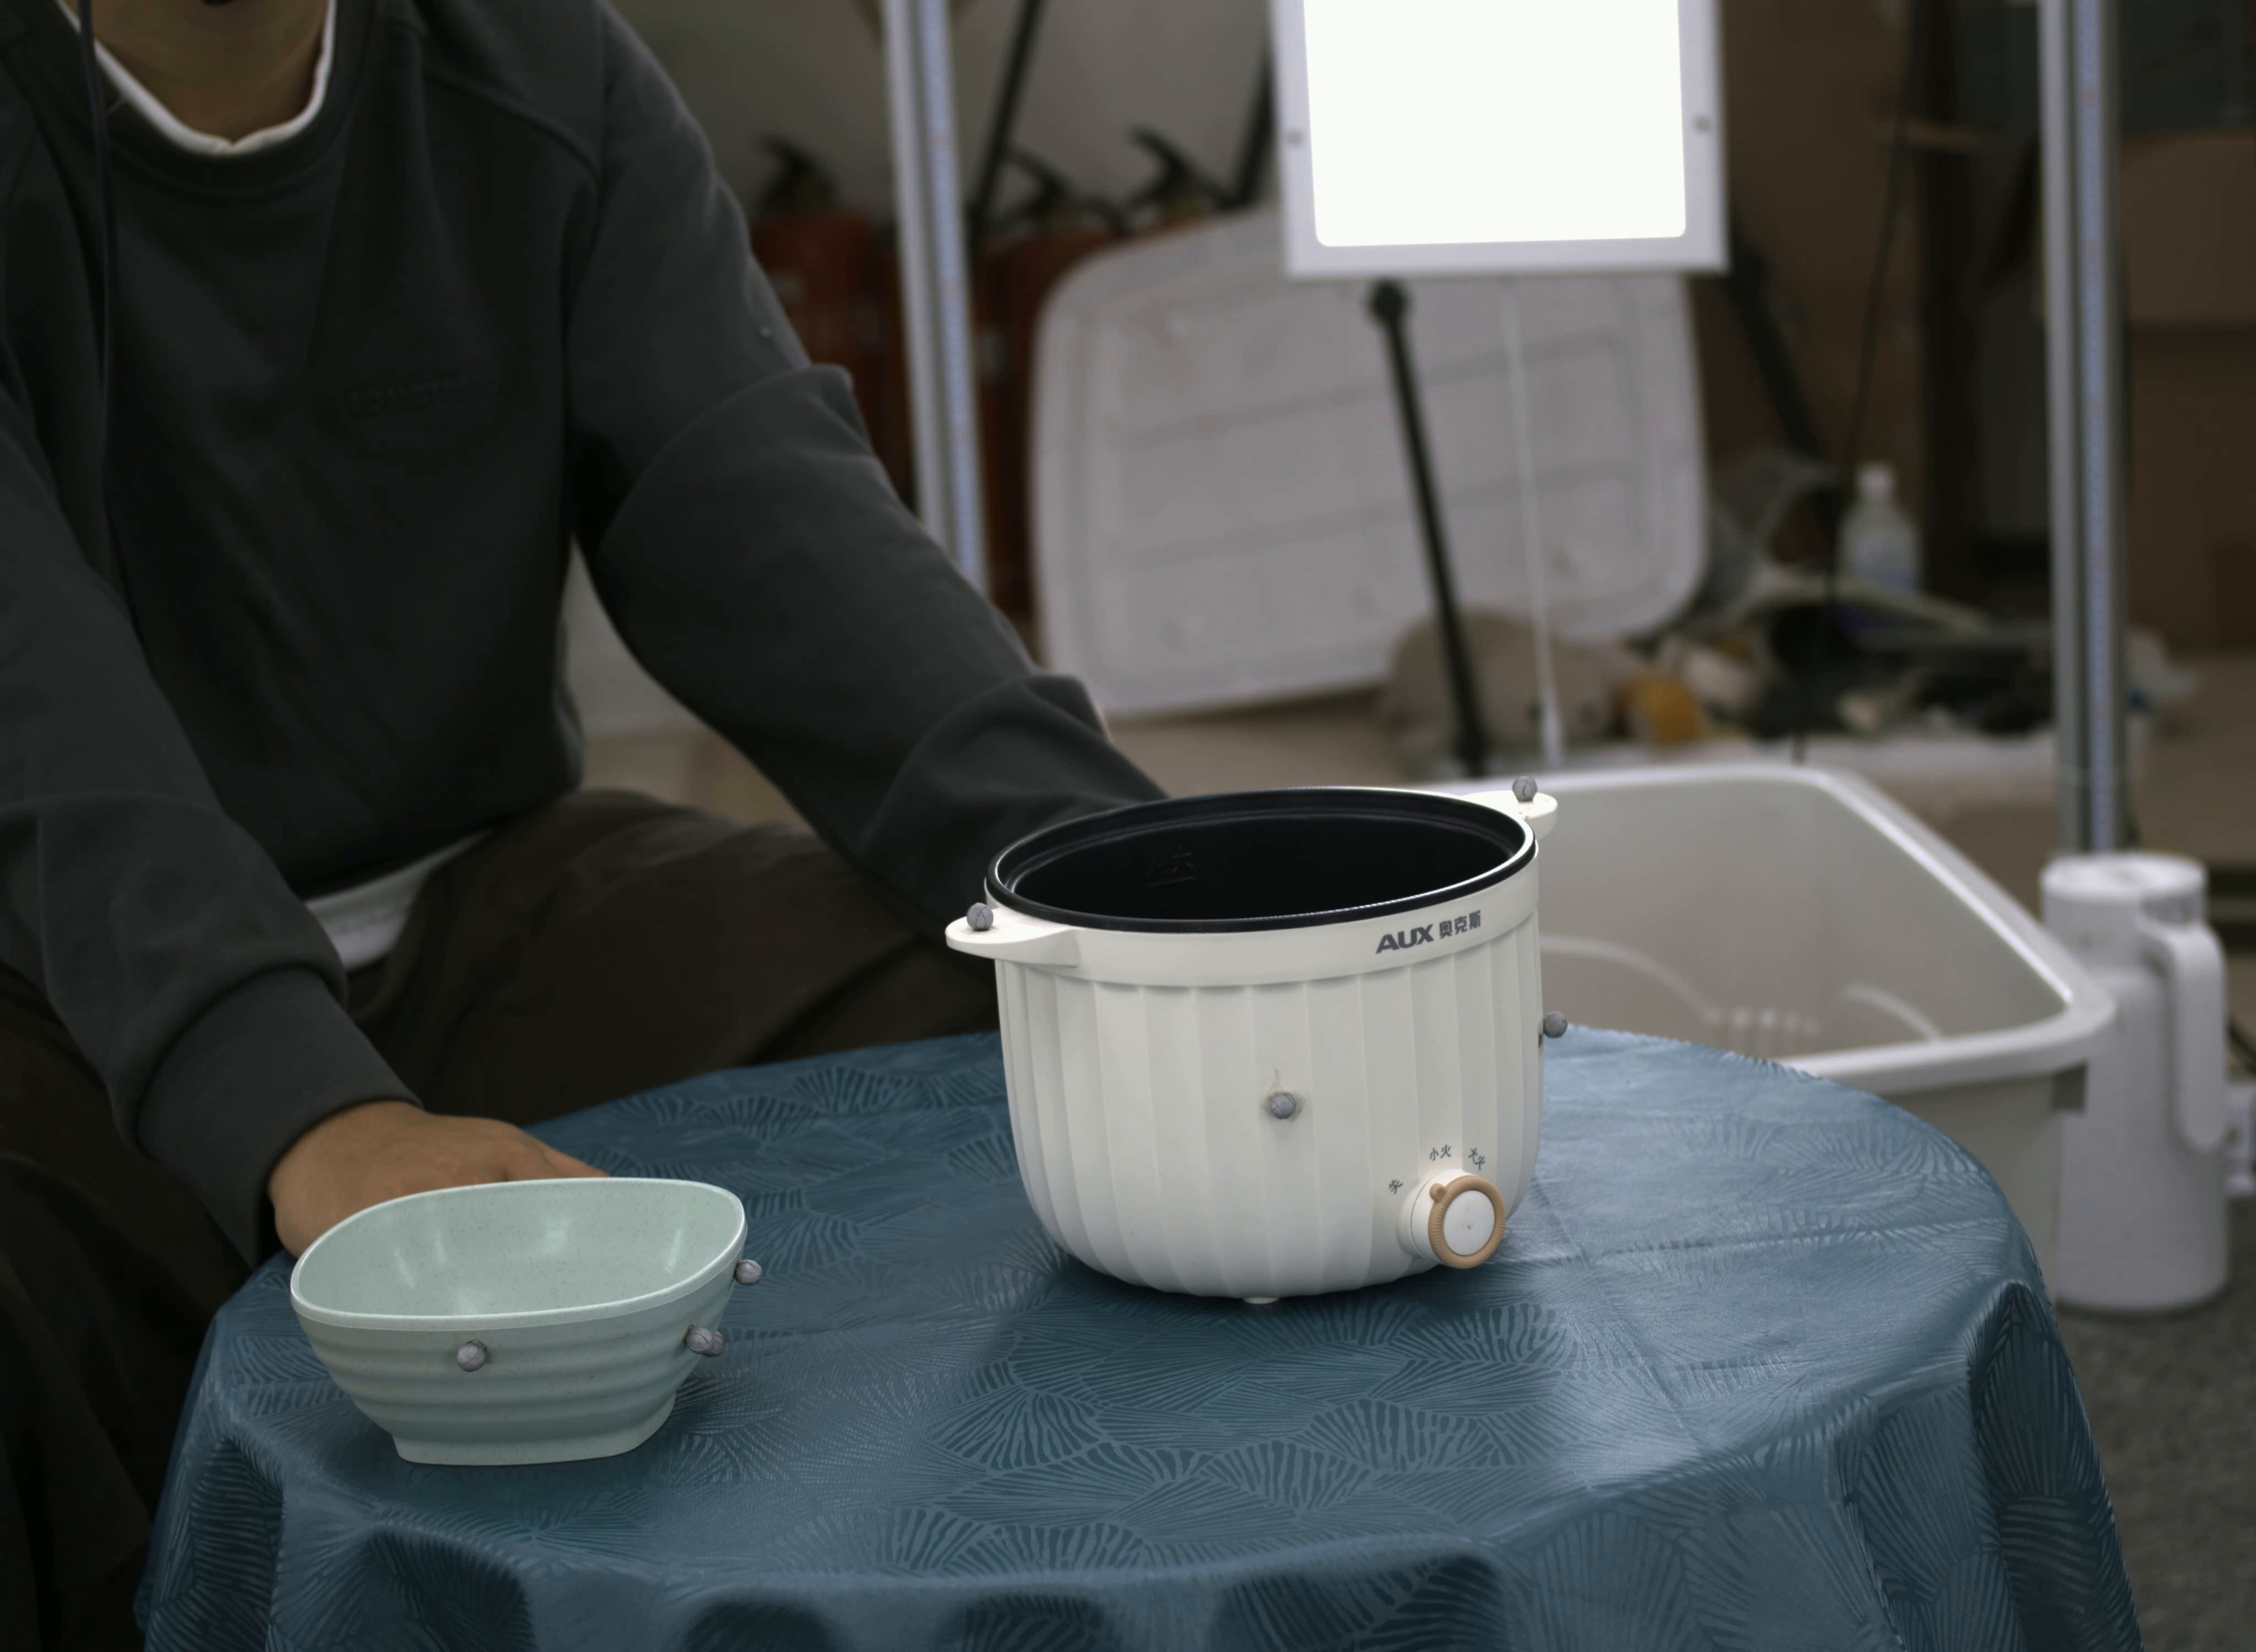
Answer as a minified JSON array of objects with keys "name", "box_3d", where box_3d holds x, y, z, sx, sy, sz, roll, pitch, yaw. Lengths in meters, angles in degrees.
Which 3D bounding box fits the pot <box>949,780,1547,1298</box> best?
[{"name":"pot","box_3d":[0.052,0.071,1.809,0.234,0.143,0.194,-16,14,-33]}]

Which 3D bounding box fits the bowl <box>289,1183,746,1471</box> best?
[{"name":"bowl","box_3d":[-0.187,0.159,1.715,0.151,0.059,0.151,-3,14,-1]}]
